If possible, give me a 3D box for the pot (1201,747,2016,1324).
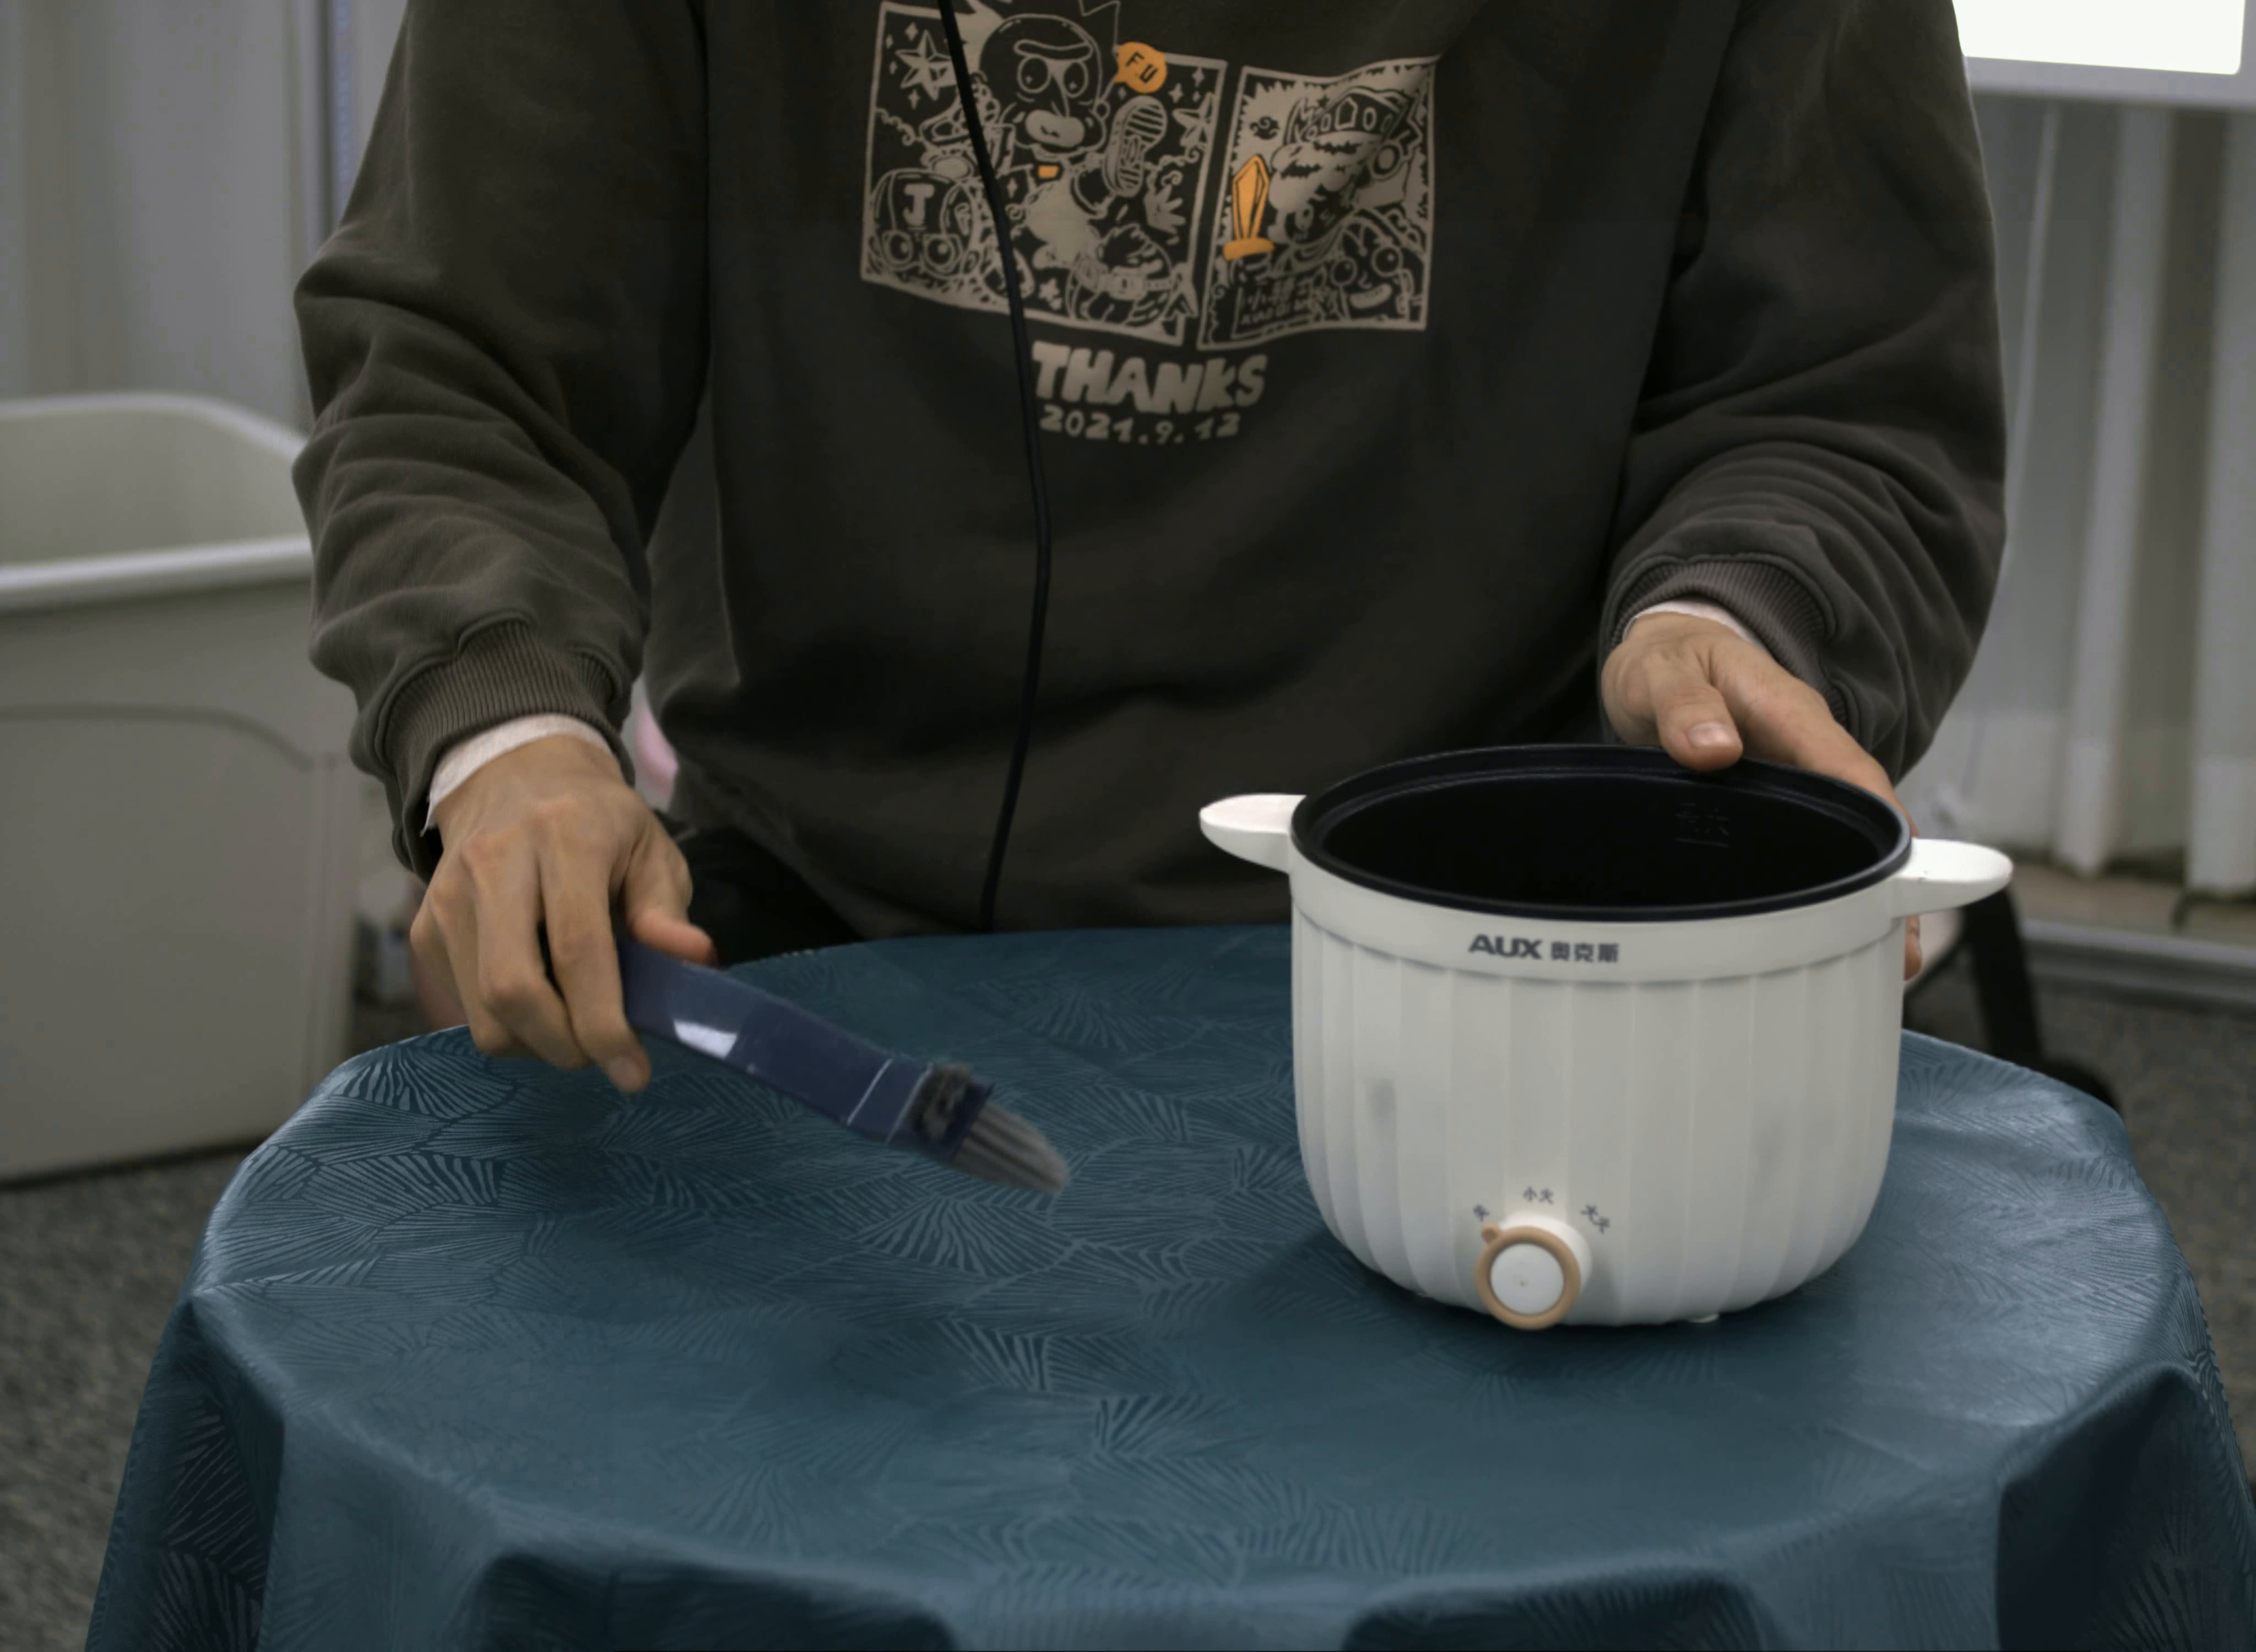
[{"bbox_3d":[0.138,0.064,1.549,0.238,0.143,0.190,3,13,13],"label":"pot"}]

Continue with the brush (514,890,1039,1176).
[{"bbox_3d":[-0.118,0.053,1.546,0.269,0.033,0.097,20,-12,46],"label":"brush"}]
